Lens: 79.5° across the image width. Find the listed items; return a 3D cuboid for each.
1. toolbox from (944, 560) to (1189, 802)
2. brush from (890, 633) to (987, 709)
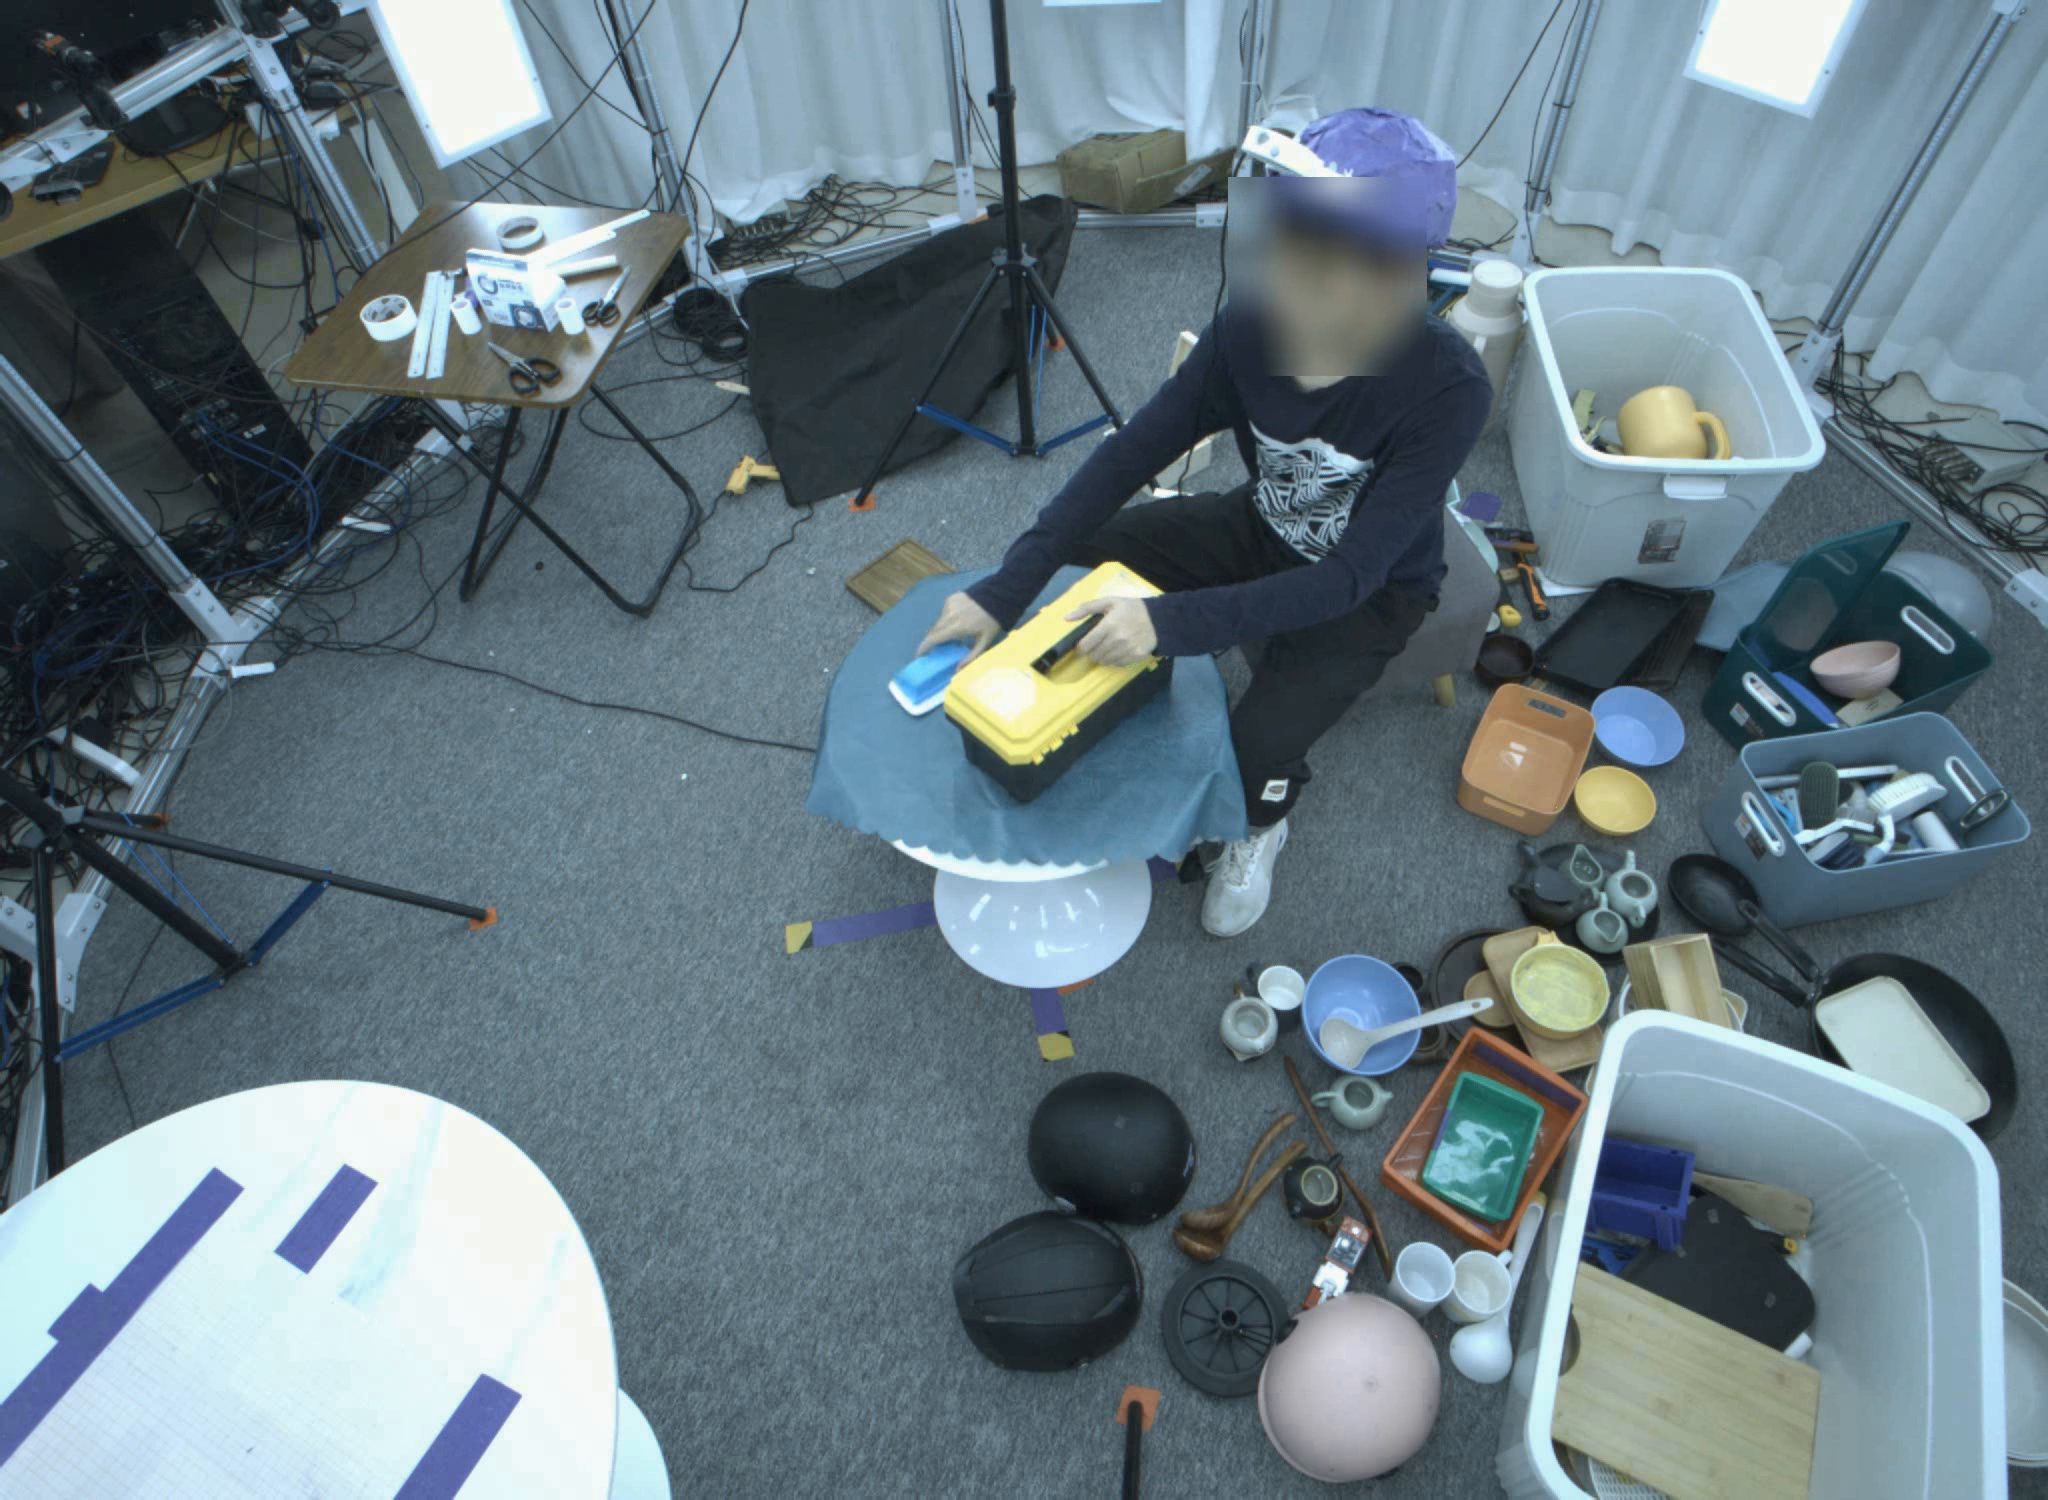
[{"bbox_3d":[0.063,-0.098,1.739,0.354,0.175,0.178,-40,62,-23],"label":"toolbox"},{"bbox_3d":[-0.127,-0.126,1.836,0.145,0.056,0.082,-32,63,-17],"label":"brush"}]
